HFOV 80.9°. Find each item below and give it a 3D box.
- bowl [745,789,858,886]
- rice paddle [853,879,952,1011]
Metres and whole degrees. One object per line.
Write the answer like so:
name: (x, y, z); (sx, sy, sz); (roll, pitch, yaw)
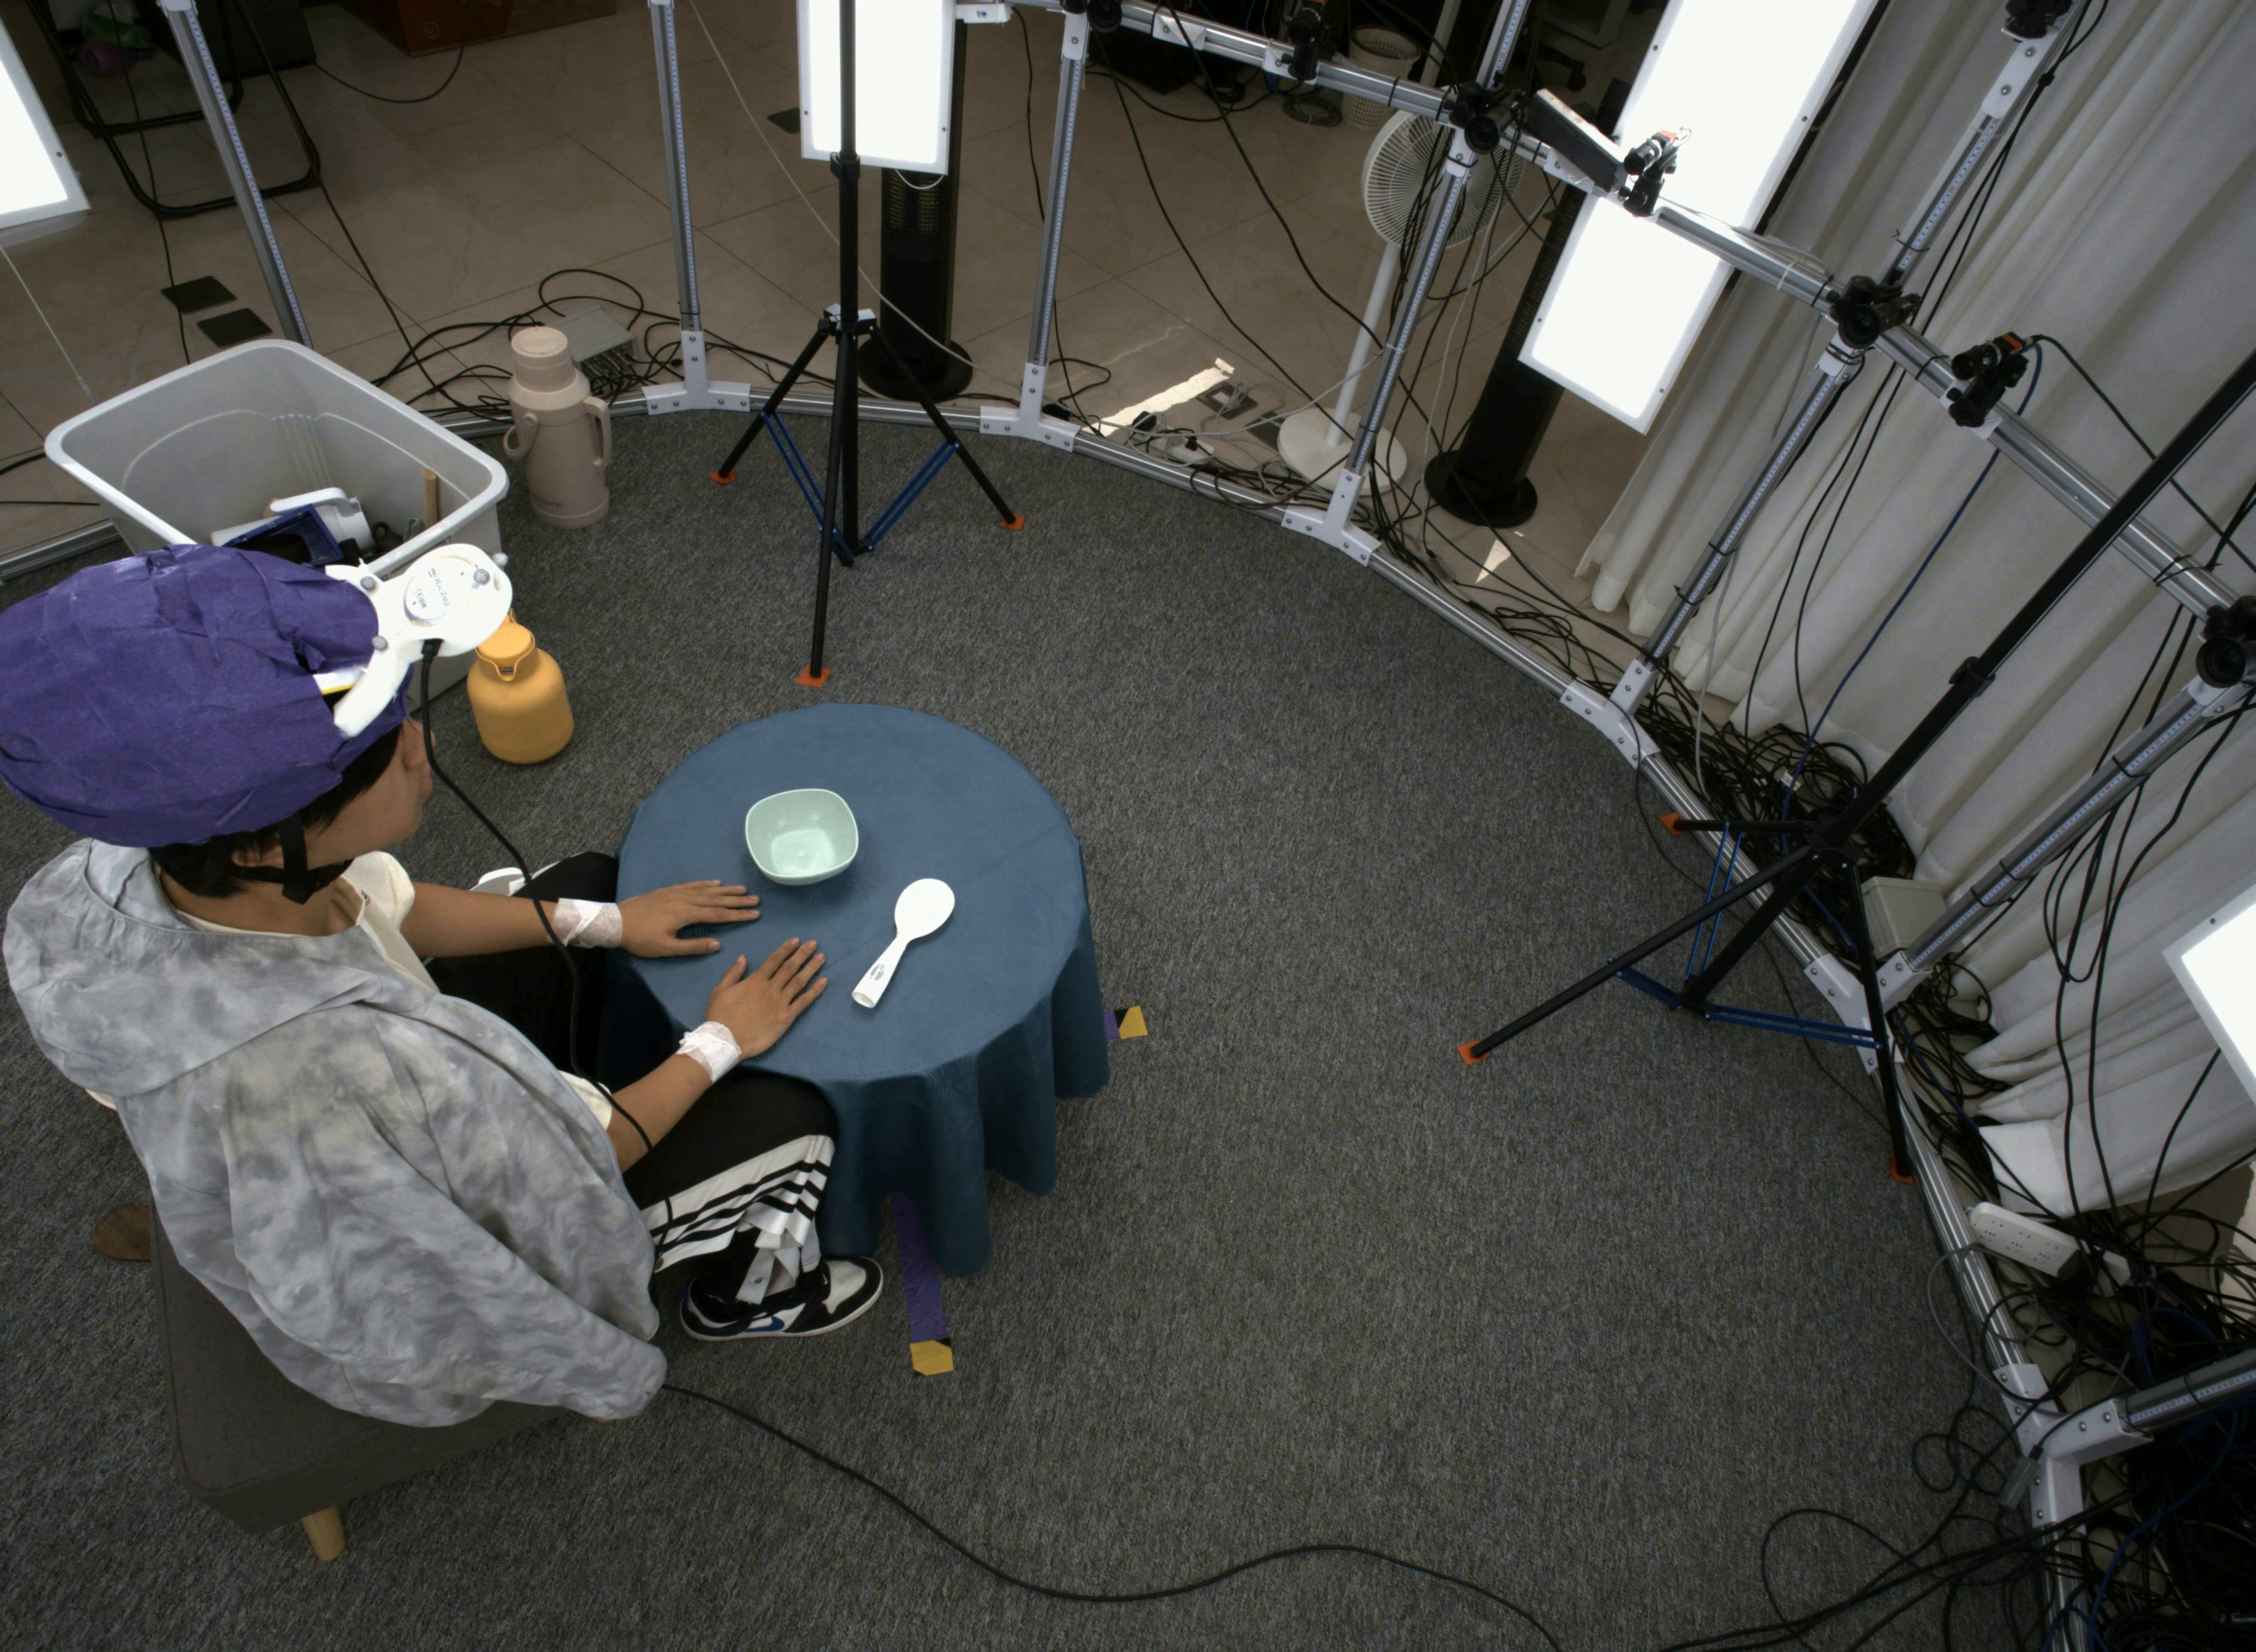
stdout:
bowl: (-0.420, 0.024, 1.673); (0.151, 0.060, 0.149); (9, 52, -10)
rice paddle: (-0.284, 0.140, 1.637); (0.068, 0.030, 0.204); (25, 52, 4)
